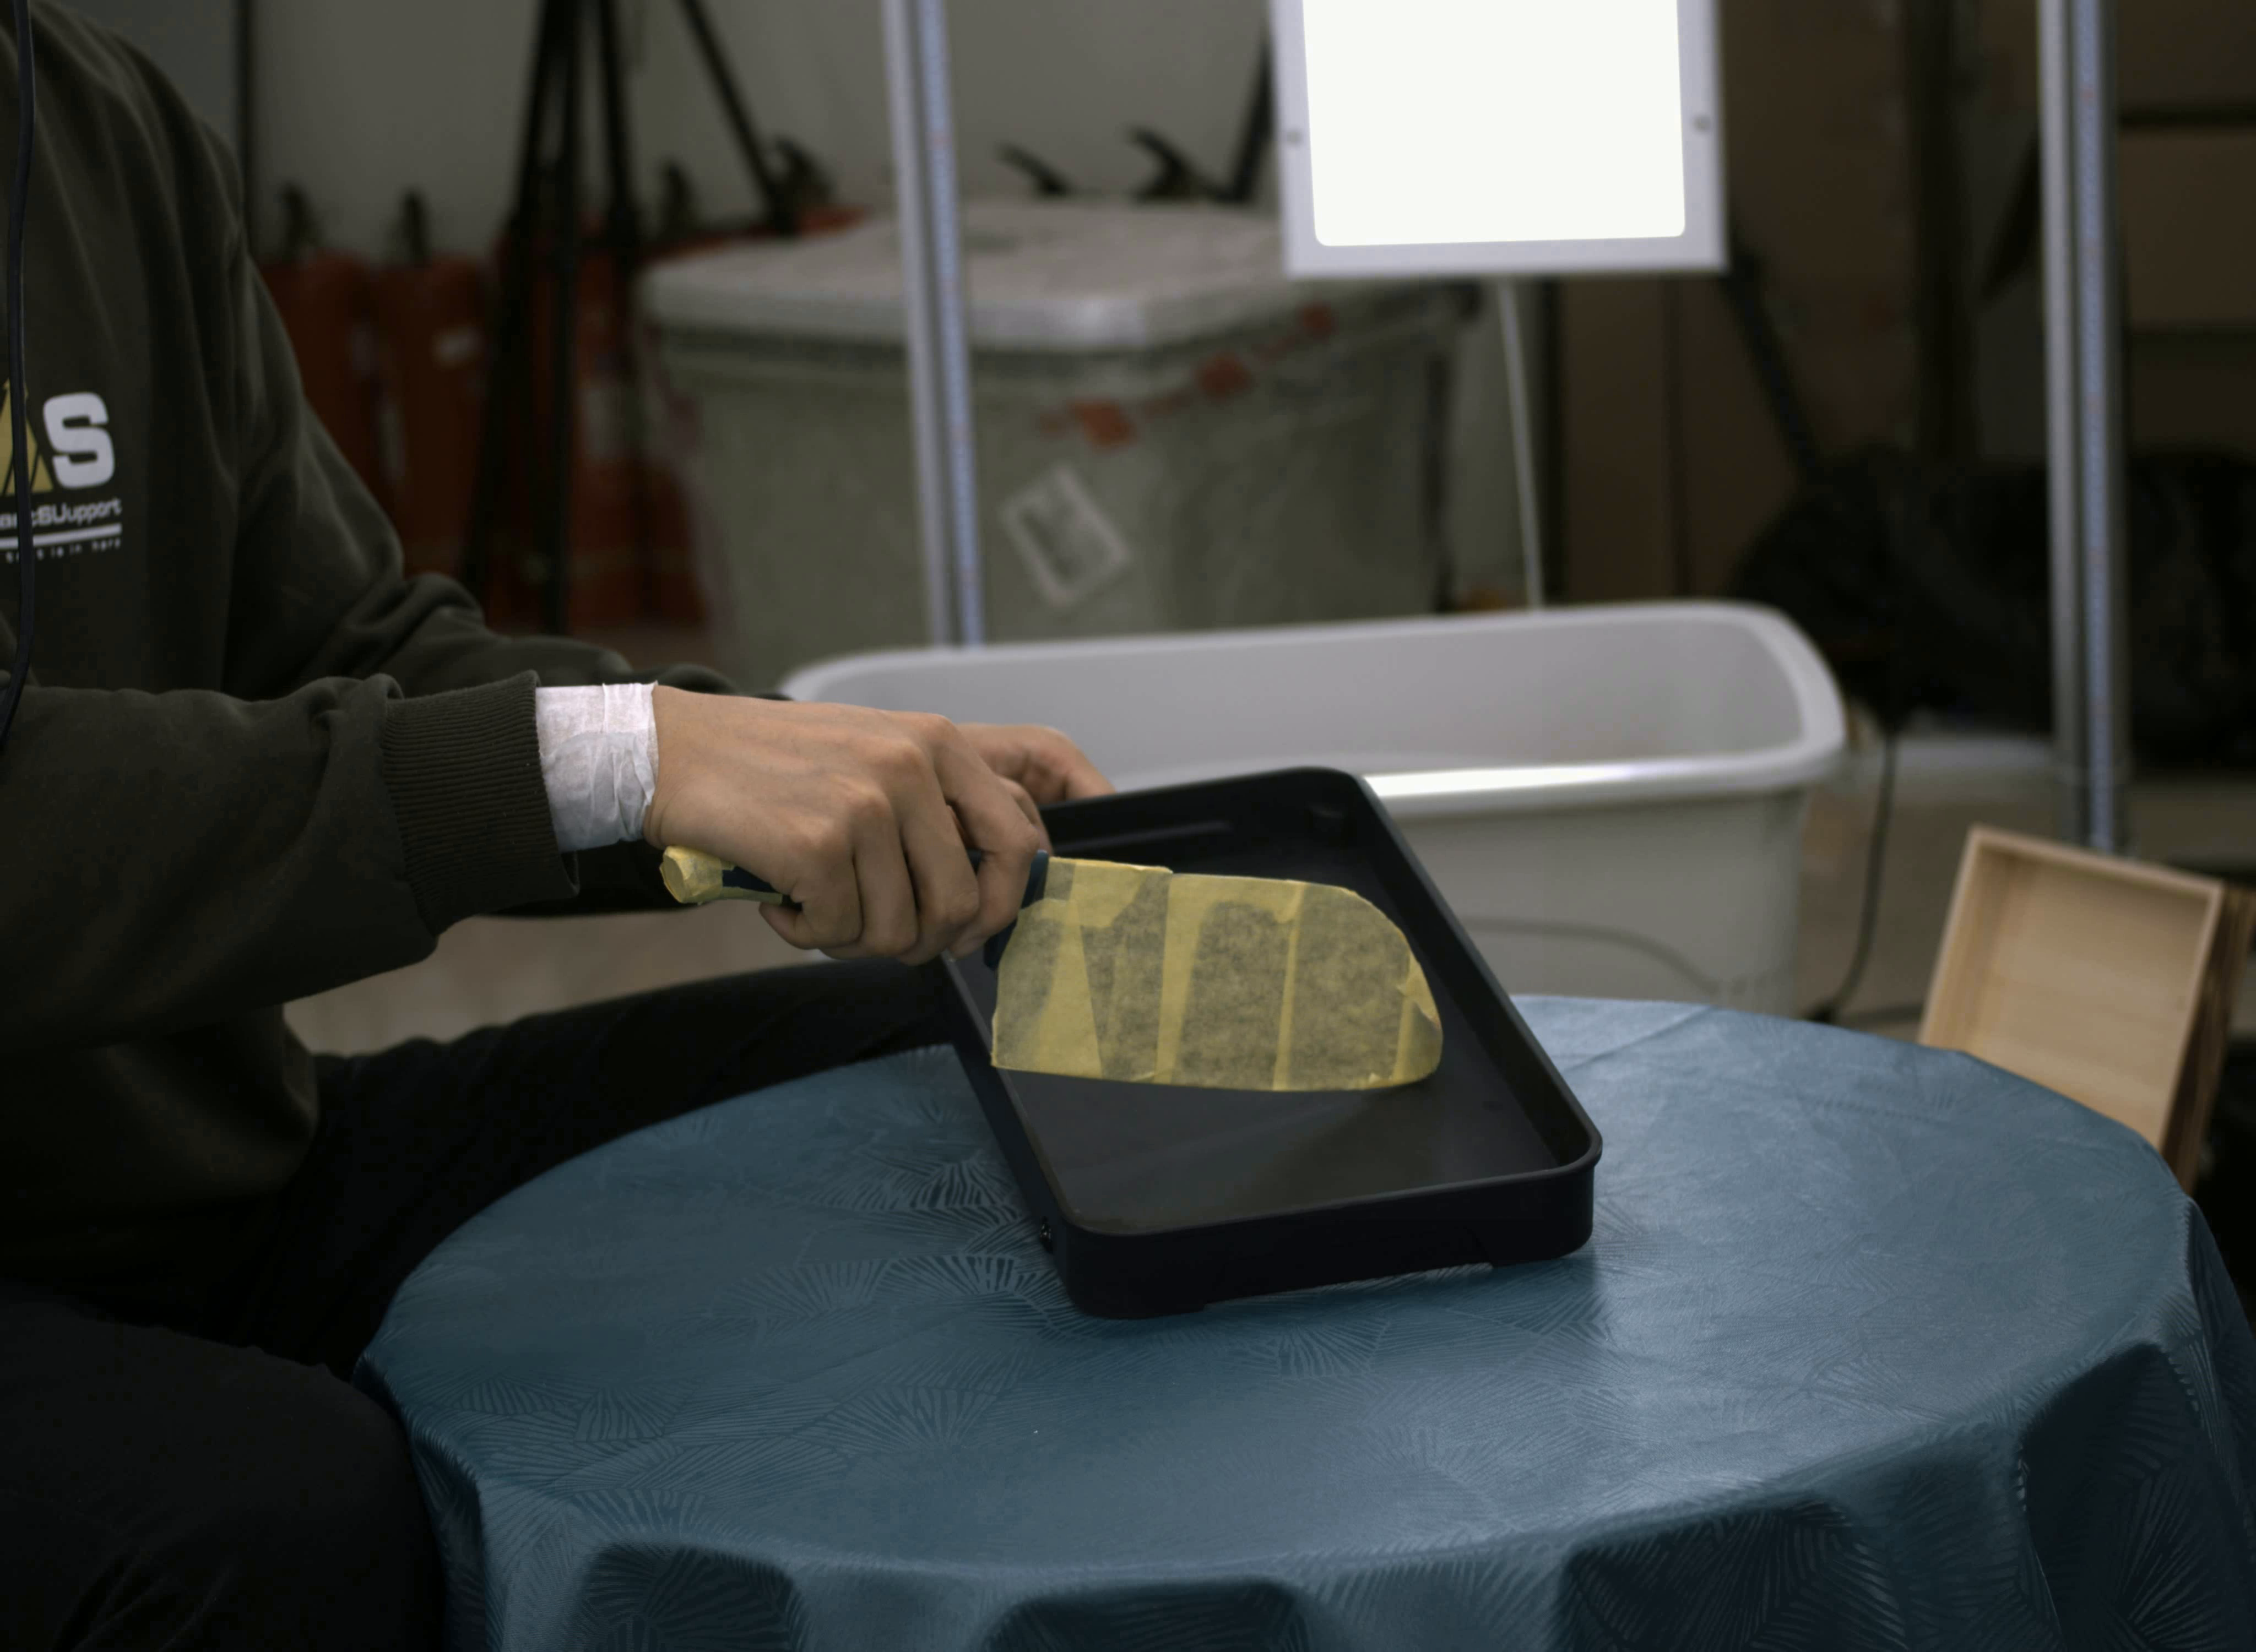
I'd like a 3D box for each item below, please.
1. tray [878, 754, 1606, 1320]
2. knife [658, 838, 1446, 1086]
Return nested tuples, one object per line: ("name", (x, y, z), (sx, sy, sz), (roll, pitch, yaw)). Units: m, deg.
("tray", (0.033, 0.067, 1.915), (0.182, 0.037, 0.320), (-10, 28, -11))
("knife", (-0.022, 0.045, 1.845), (0.284, 0.081, 0.027), (8, -3, -19))
